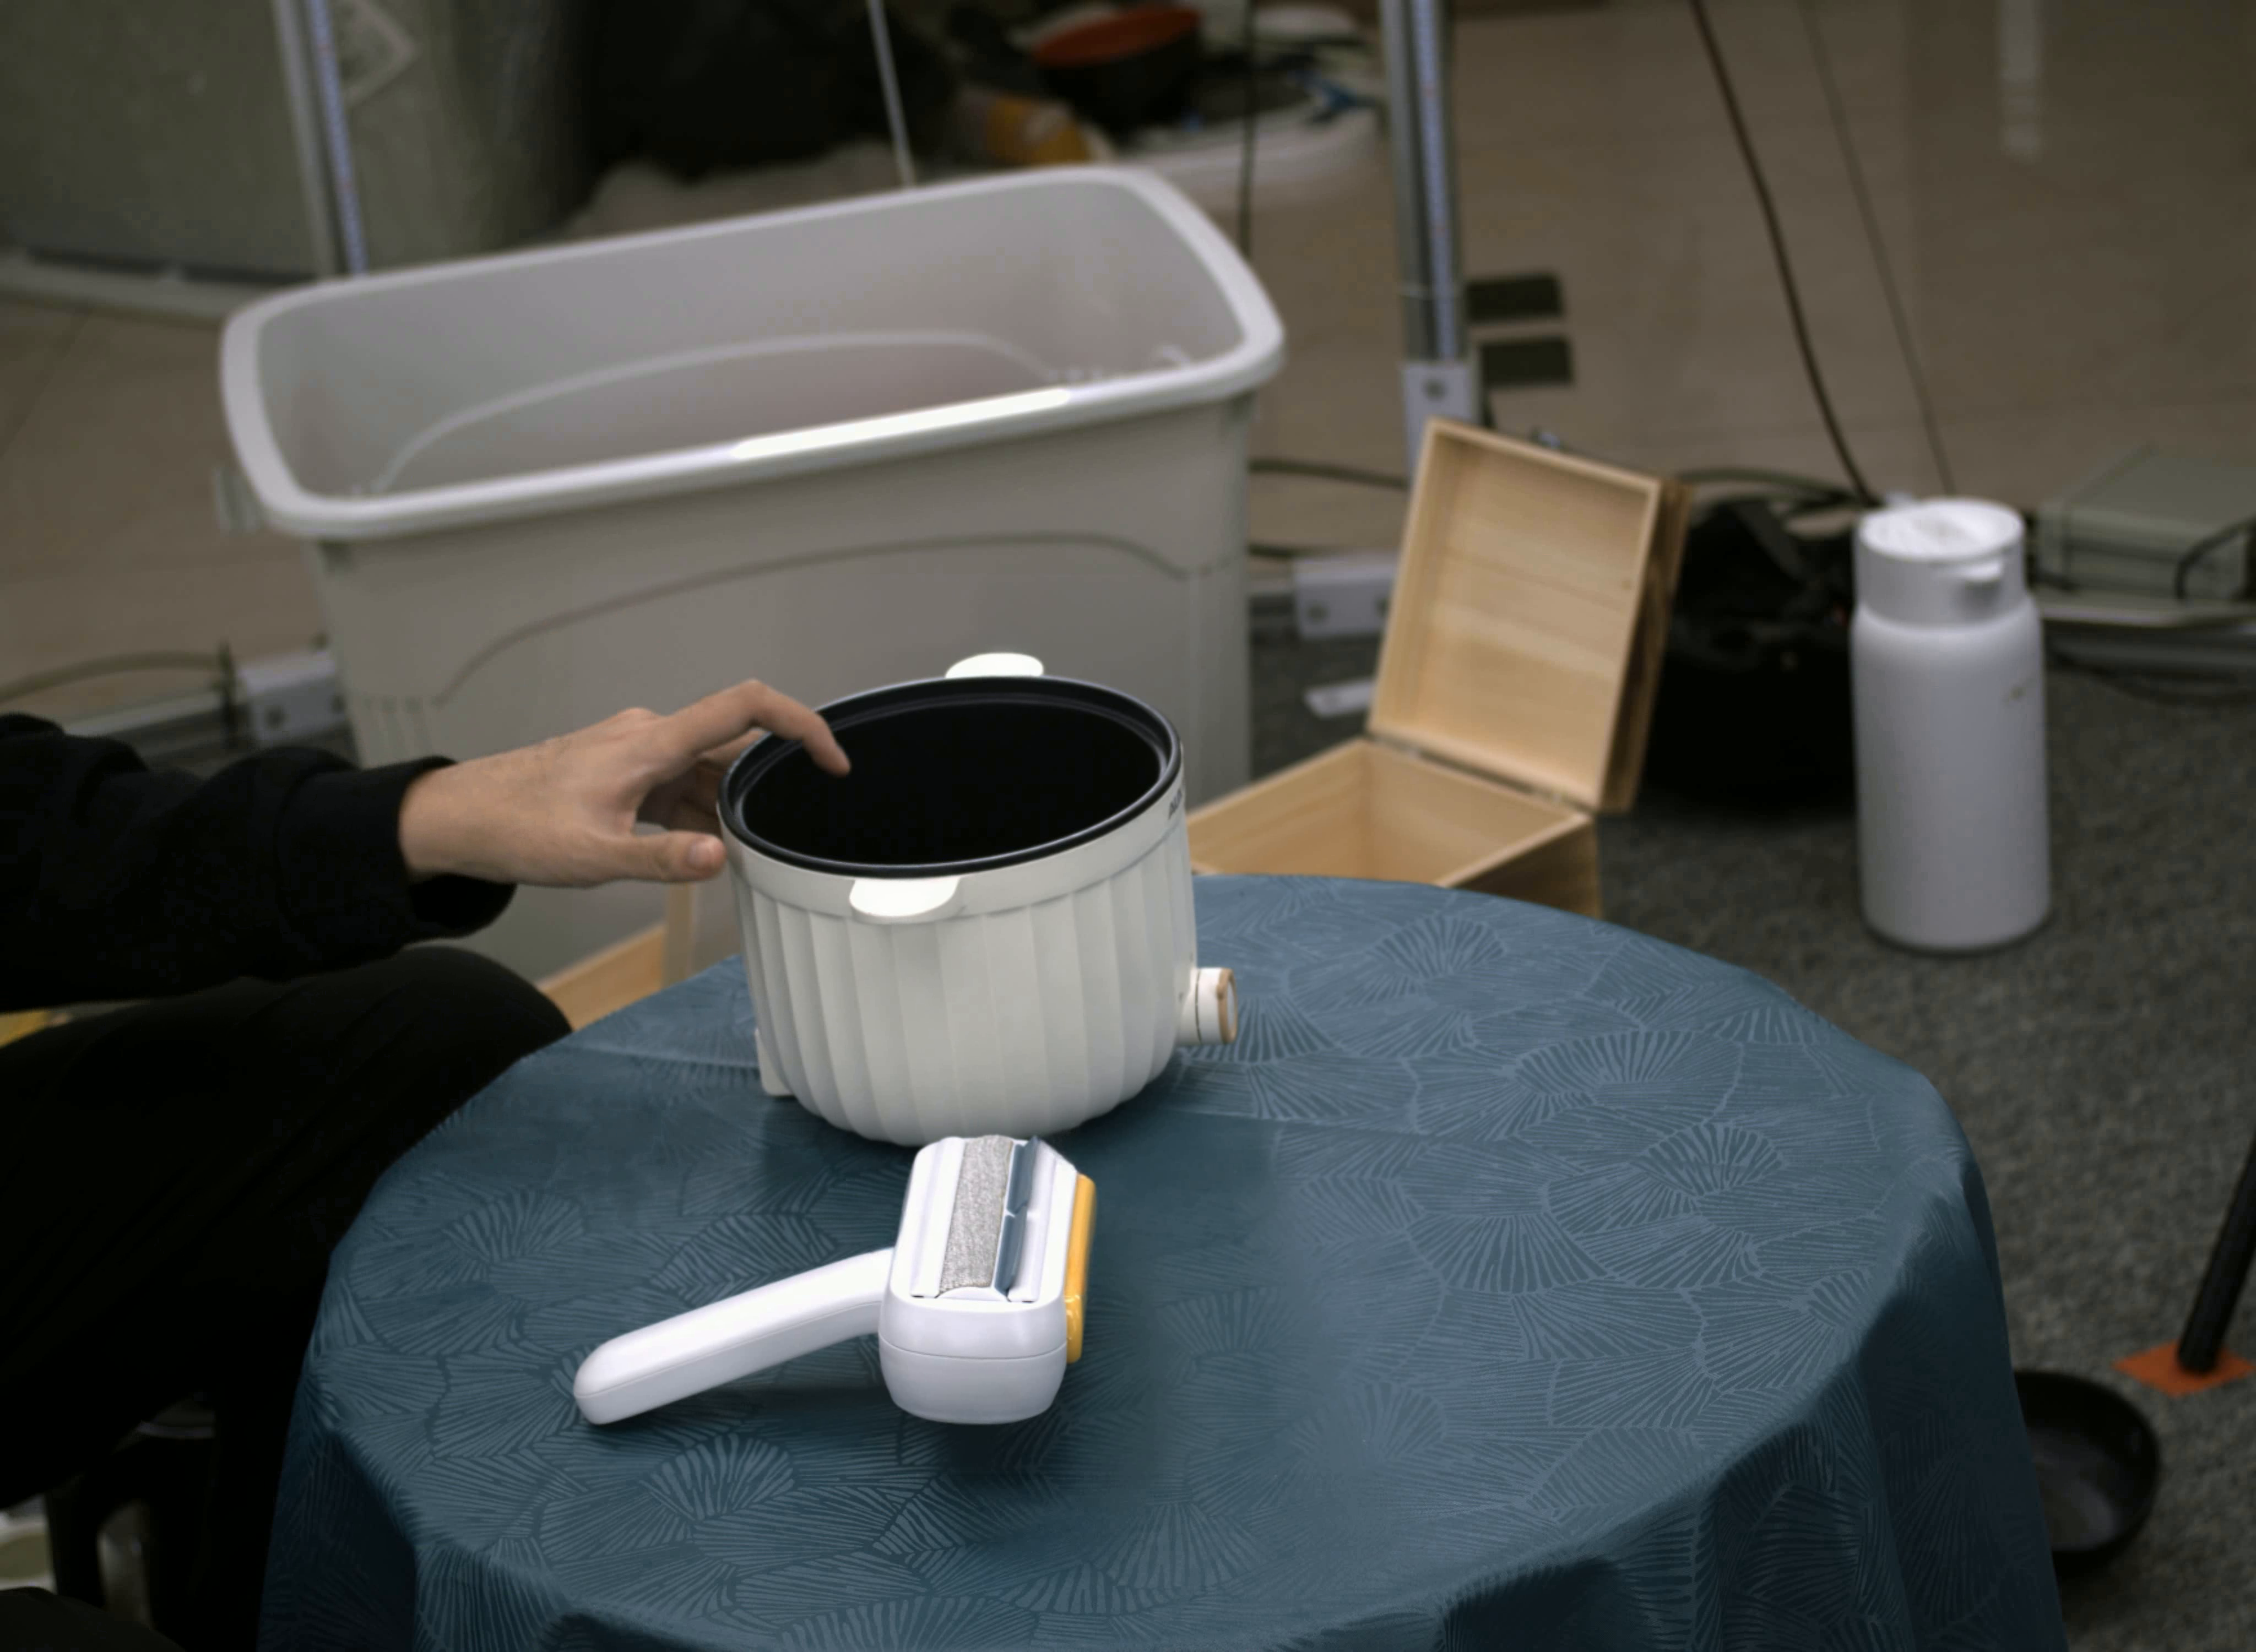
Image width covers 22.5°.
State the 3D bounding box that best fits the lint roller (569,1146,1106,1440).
[{"bbox_3d":[-0.108,0.174,2.016,0.192,0.075,0.190,-5,19,7],"label":"lint roller"}]

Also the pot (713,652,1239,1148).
[{"bbox_3d":[-0.057,0.036,2.210,0.190,0.145,0.237,-4,27,11],"label":"pot"}]
